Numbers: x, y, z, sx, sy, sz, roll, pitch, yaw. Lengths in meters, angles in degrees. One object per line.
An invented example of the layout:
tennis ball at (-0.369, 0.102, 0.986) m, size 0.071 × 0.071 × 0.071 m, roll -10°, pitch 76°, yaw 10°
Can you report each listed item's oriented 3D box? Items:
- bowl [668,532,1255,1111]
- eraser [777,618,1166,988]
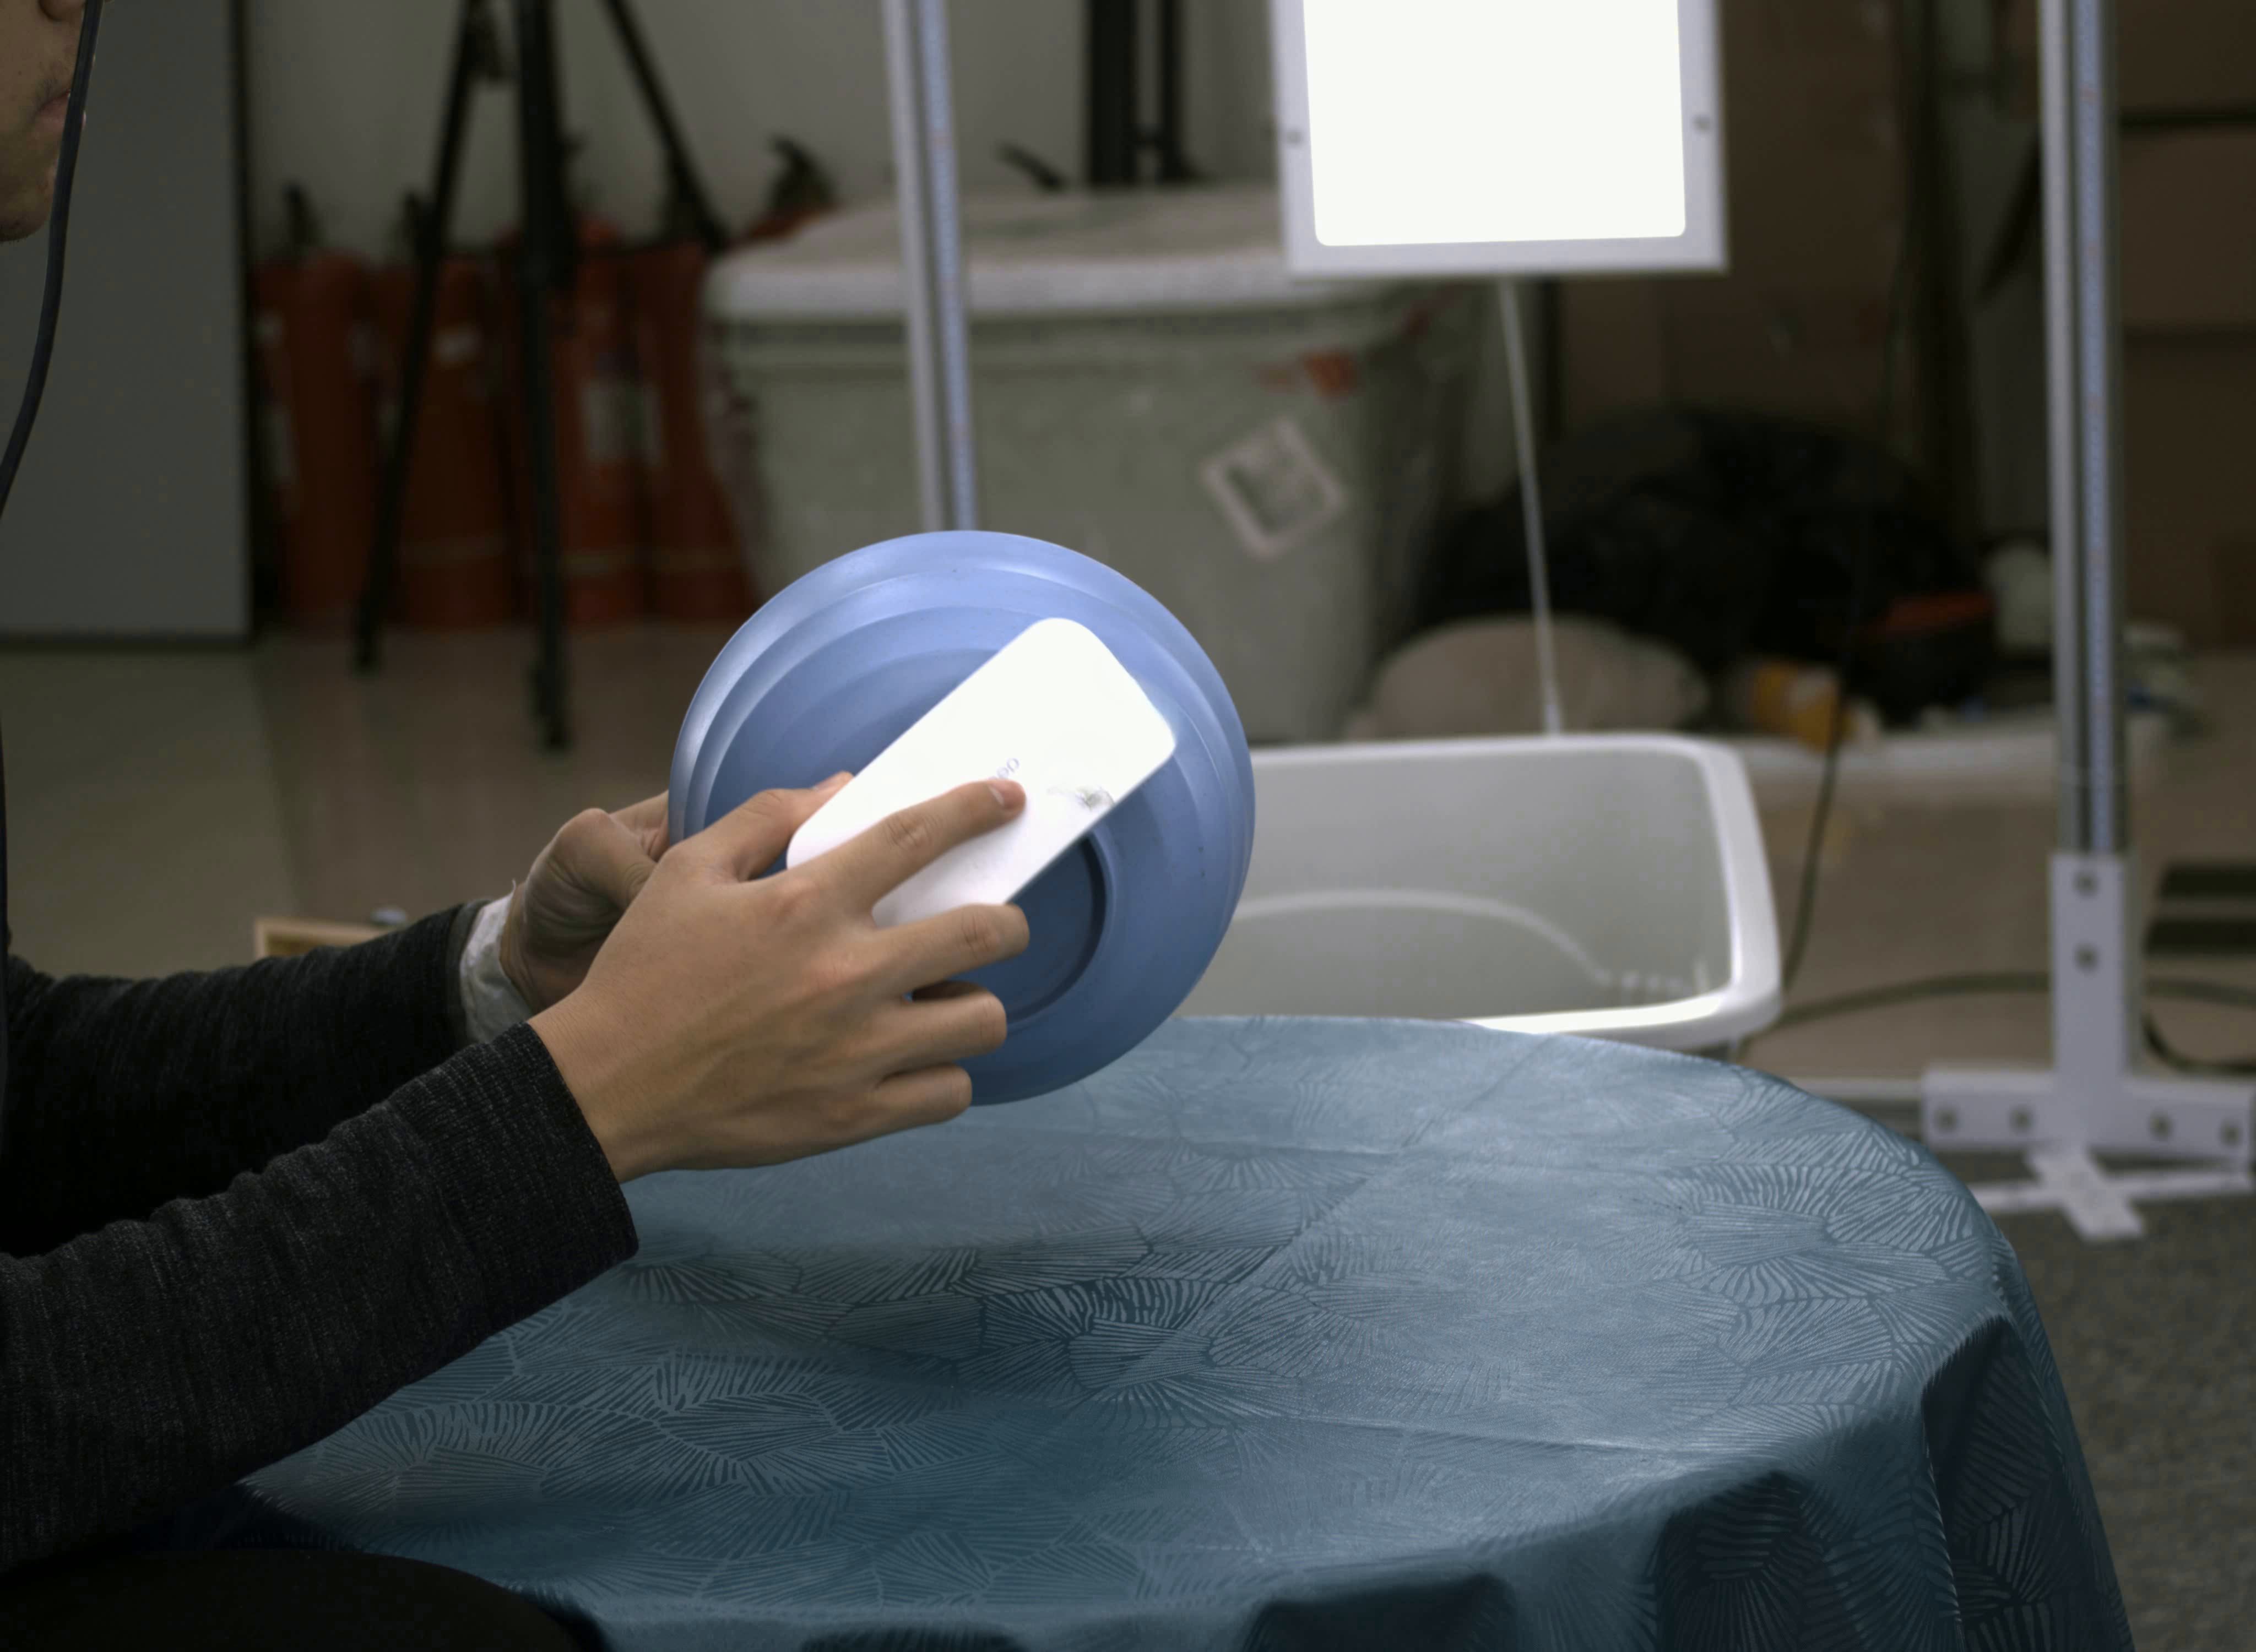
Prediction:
bowl at (-0.052, 0.011, 1.791) m, size 0.196 × 0.197 × 0.095 m, roll -4°, pitch 18°, yaw 0°
eraser at (-0.050, -0.009, 1.713) m, size 0.129 × 0.064 × 0.035 m, roll -41°, pitch -12°, yaw -22°
